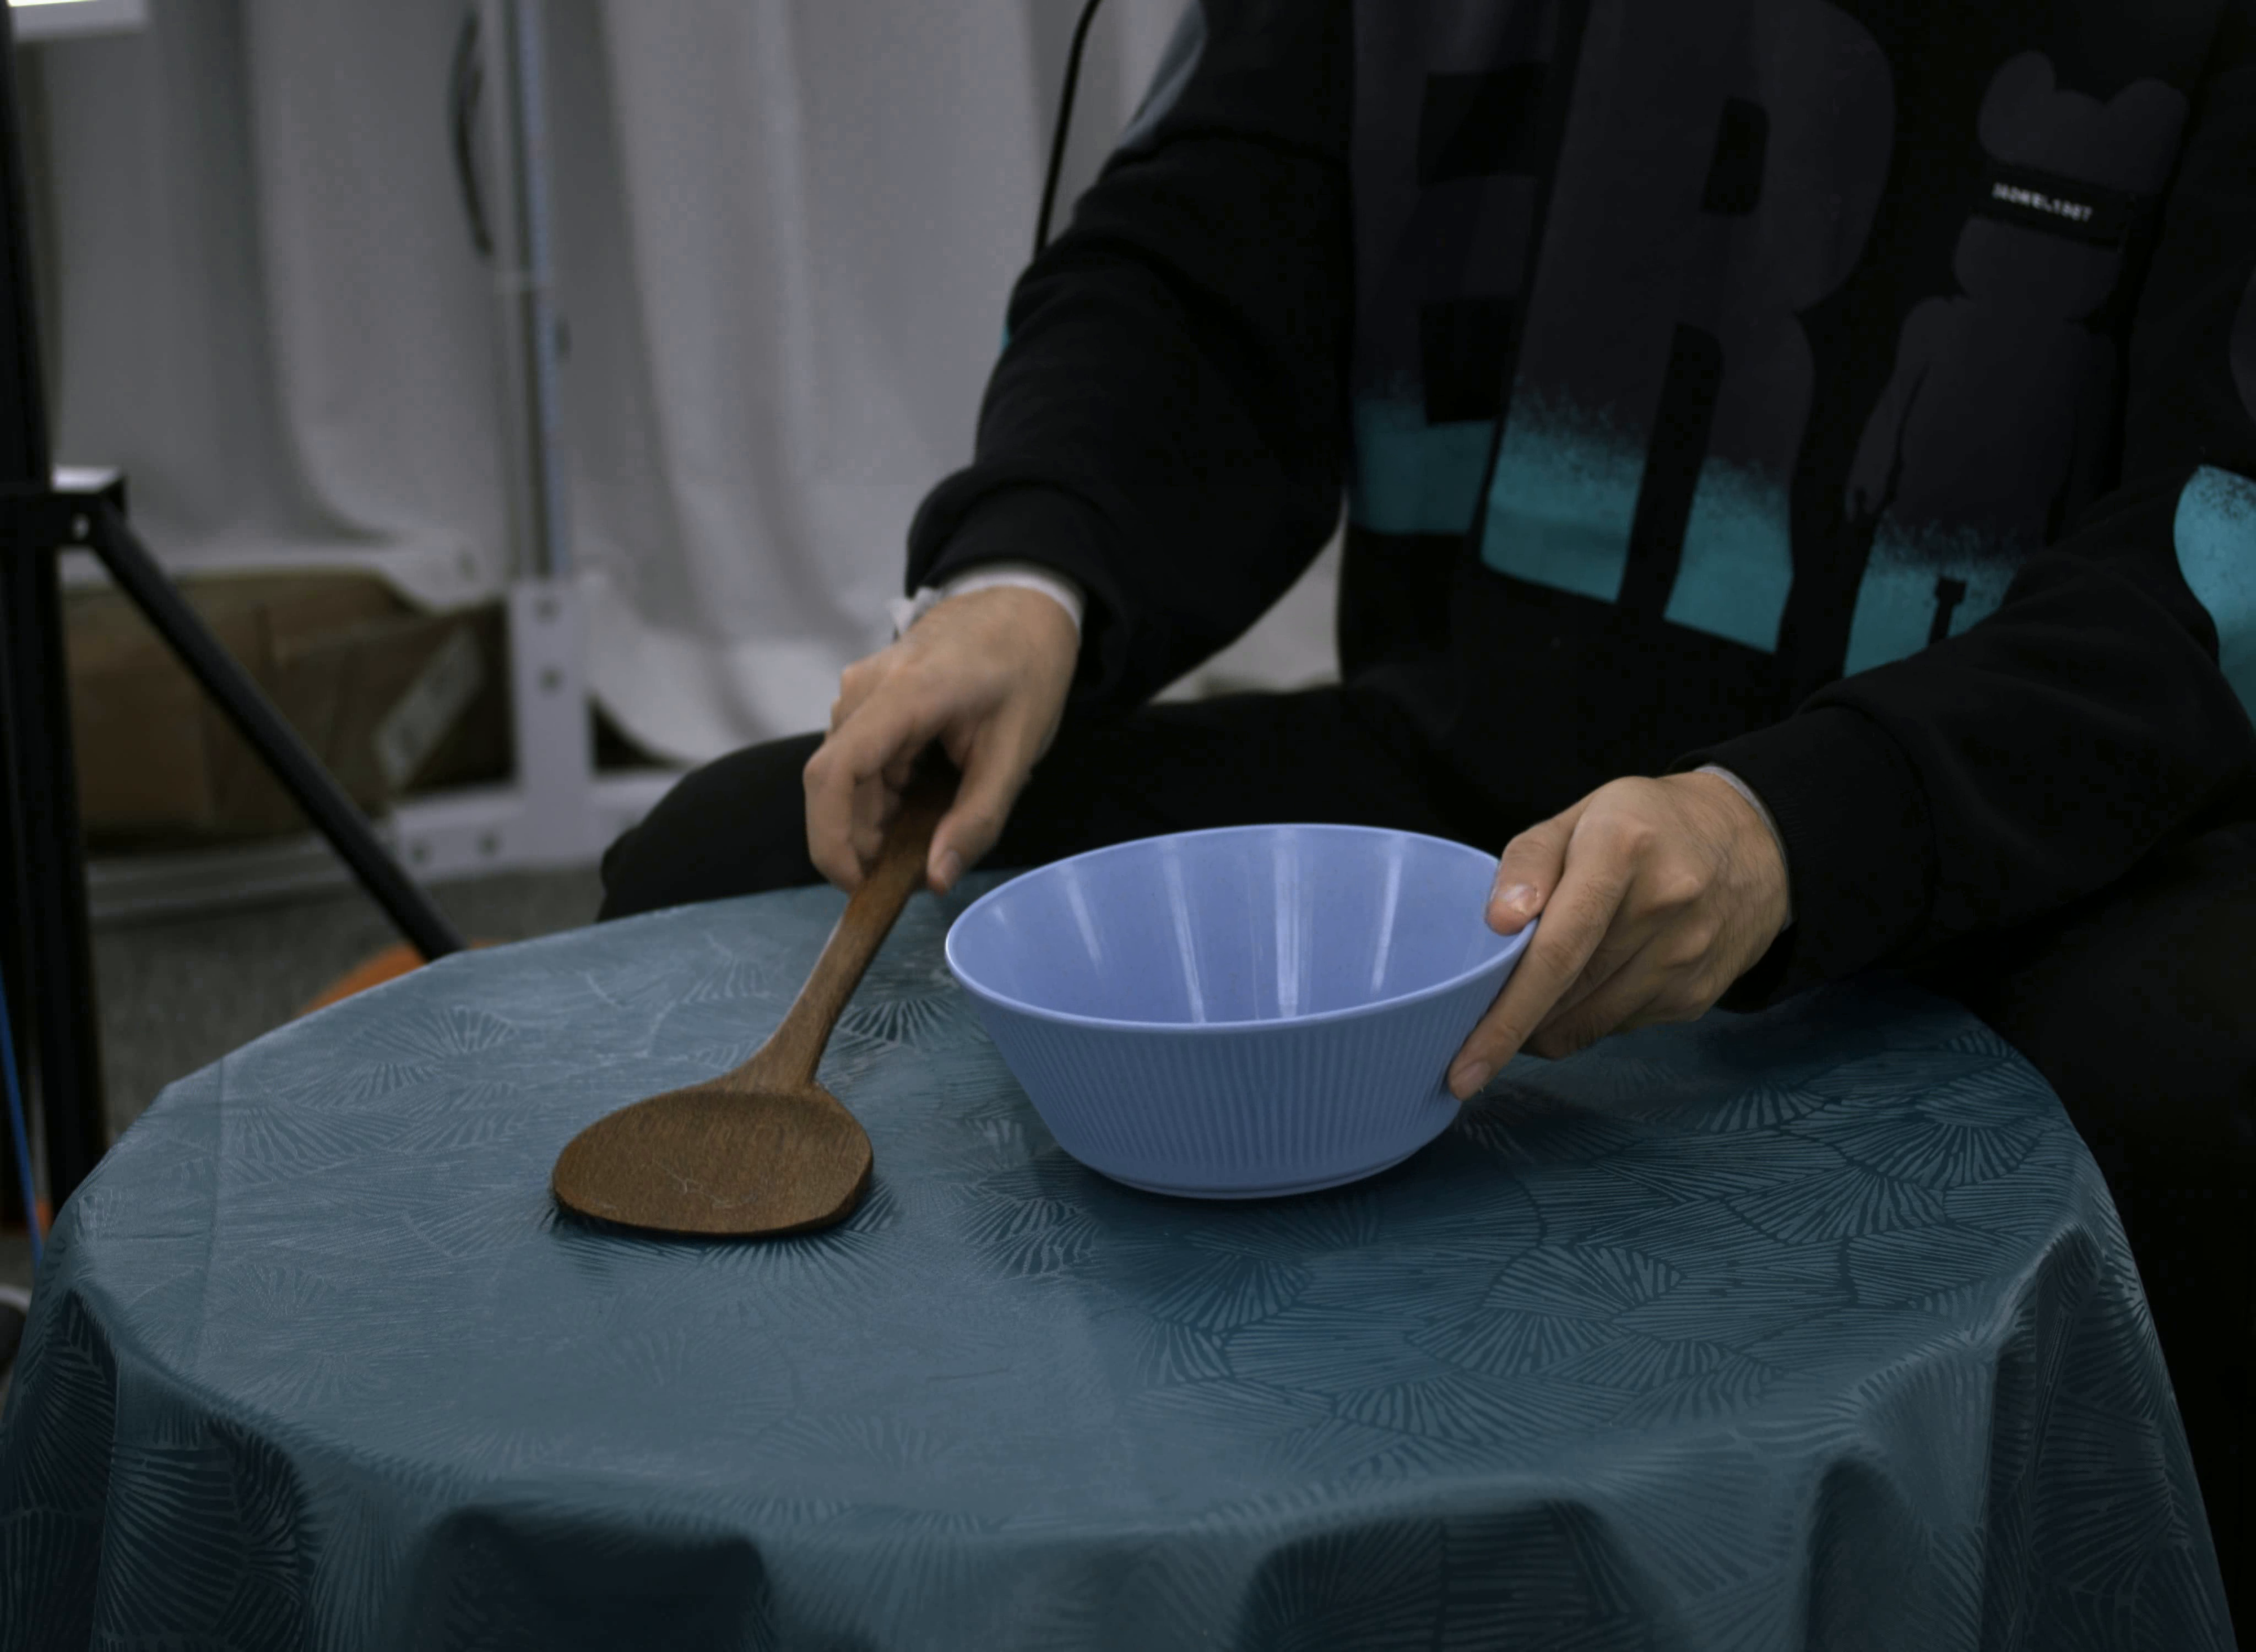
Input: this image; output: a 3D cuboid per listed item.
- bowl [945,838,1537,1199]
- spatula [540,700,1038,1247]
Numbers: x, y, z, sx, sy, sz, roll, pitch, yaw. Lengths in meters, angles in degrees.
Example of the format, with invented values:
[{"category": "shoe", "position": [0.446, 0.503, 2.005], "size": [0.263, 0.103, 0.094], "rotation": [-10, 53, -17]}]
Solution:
[{"category": "bowl", "position": [0.035, 0.060, 1.576], "size": [0.175, 0.070, 0.177], "rotation": [-4, 17, 0]}, {"category": "spatula", "position": [-0.087, 0.038, 1.703], "size": [0.097, 0.016, 0.384], "rotation": [3, 26, 14]}]
